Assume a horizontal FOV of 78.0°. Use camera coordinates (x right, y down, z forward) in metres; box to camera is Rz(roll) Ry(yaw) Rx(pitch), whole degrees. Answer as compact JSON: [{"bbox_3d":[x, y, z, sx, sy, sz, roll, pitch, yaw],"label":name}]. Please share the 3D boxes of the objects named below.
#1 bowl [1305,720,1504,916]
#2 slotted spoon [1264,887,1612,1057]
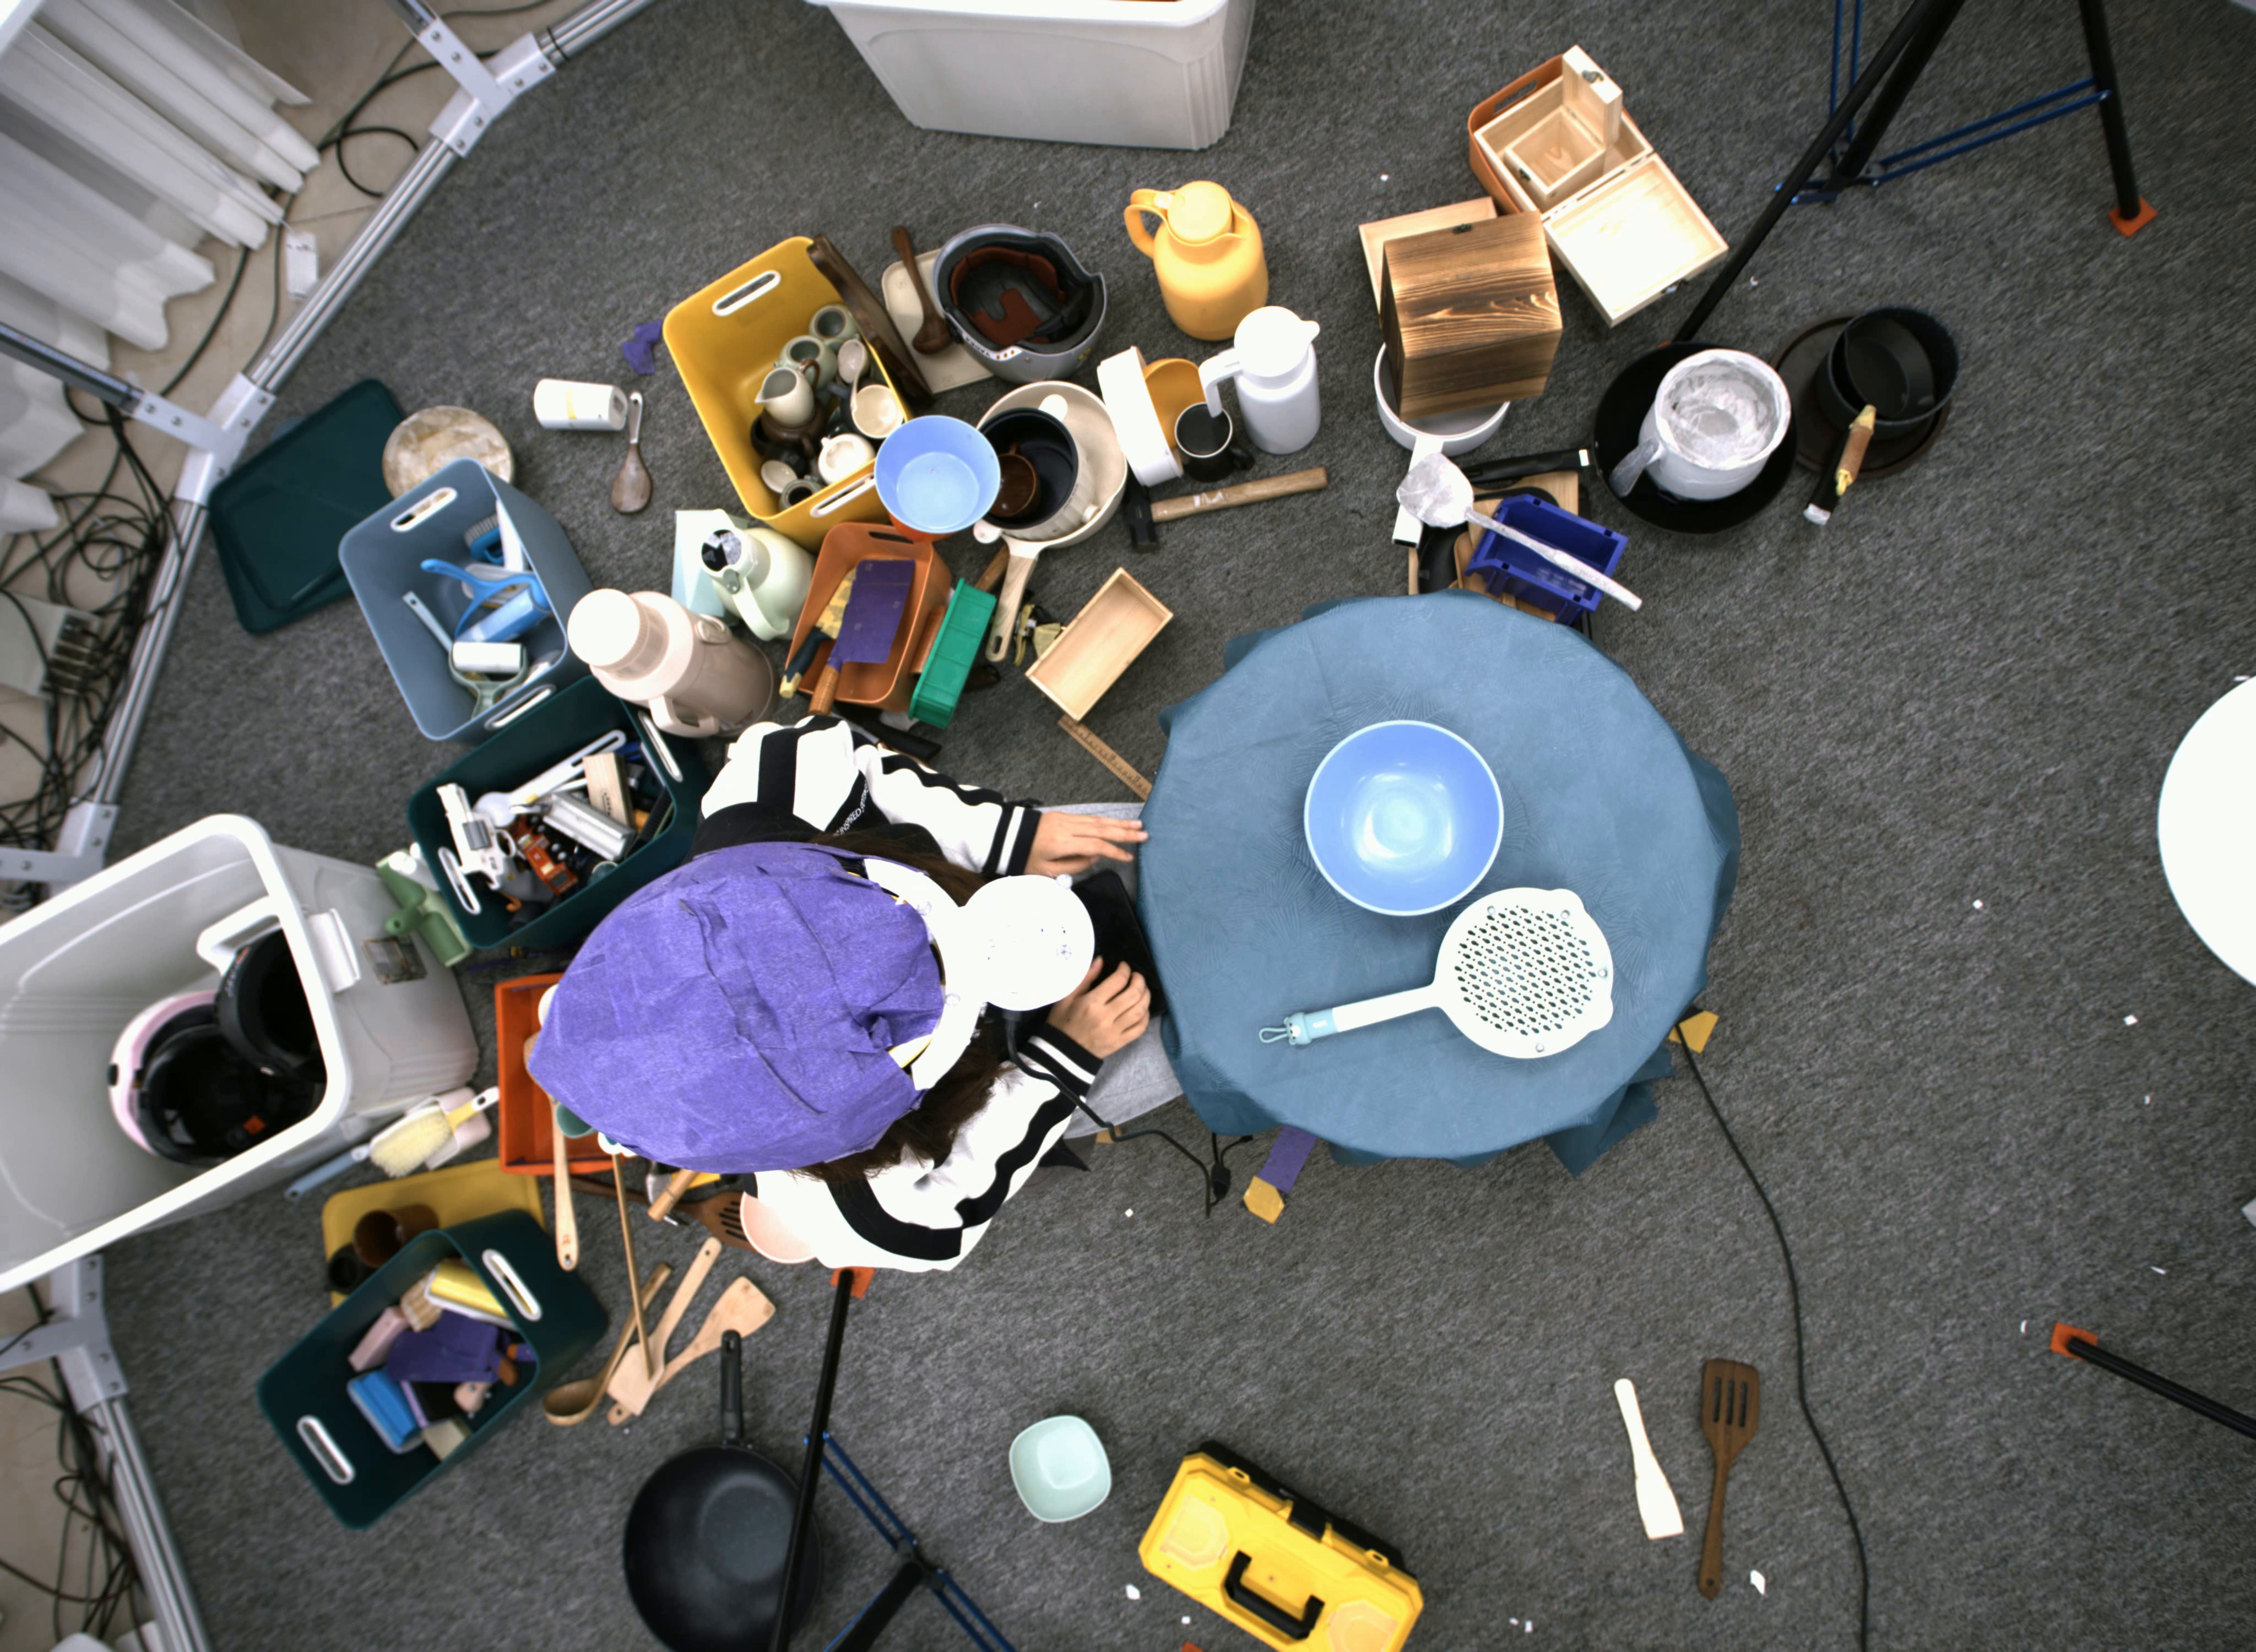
[{"bbox_3d":[0.282,-0.005,1.414,0.197,0.095,0.195,-1,87,10],"label":"bowl"},{"bbox_3d":[0.310,0.172,1.418,0.361,0.075,0.168,-16,83,11],"label":"slotted spoon"}]
